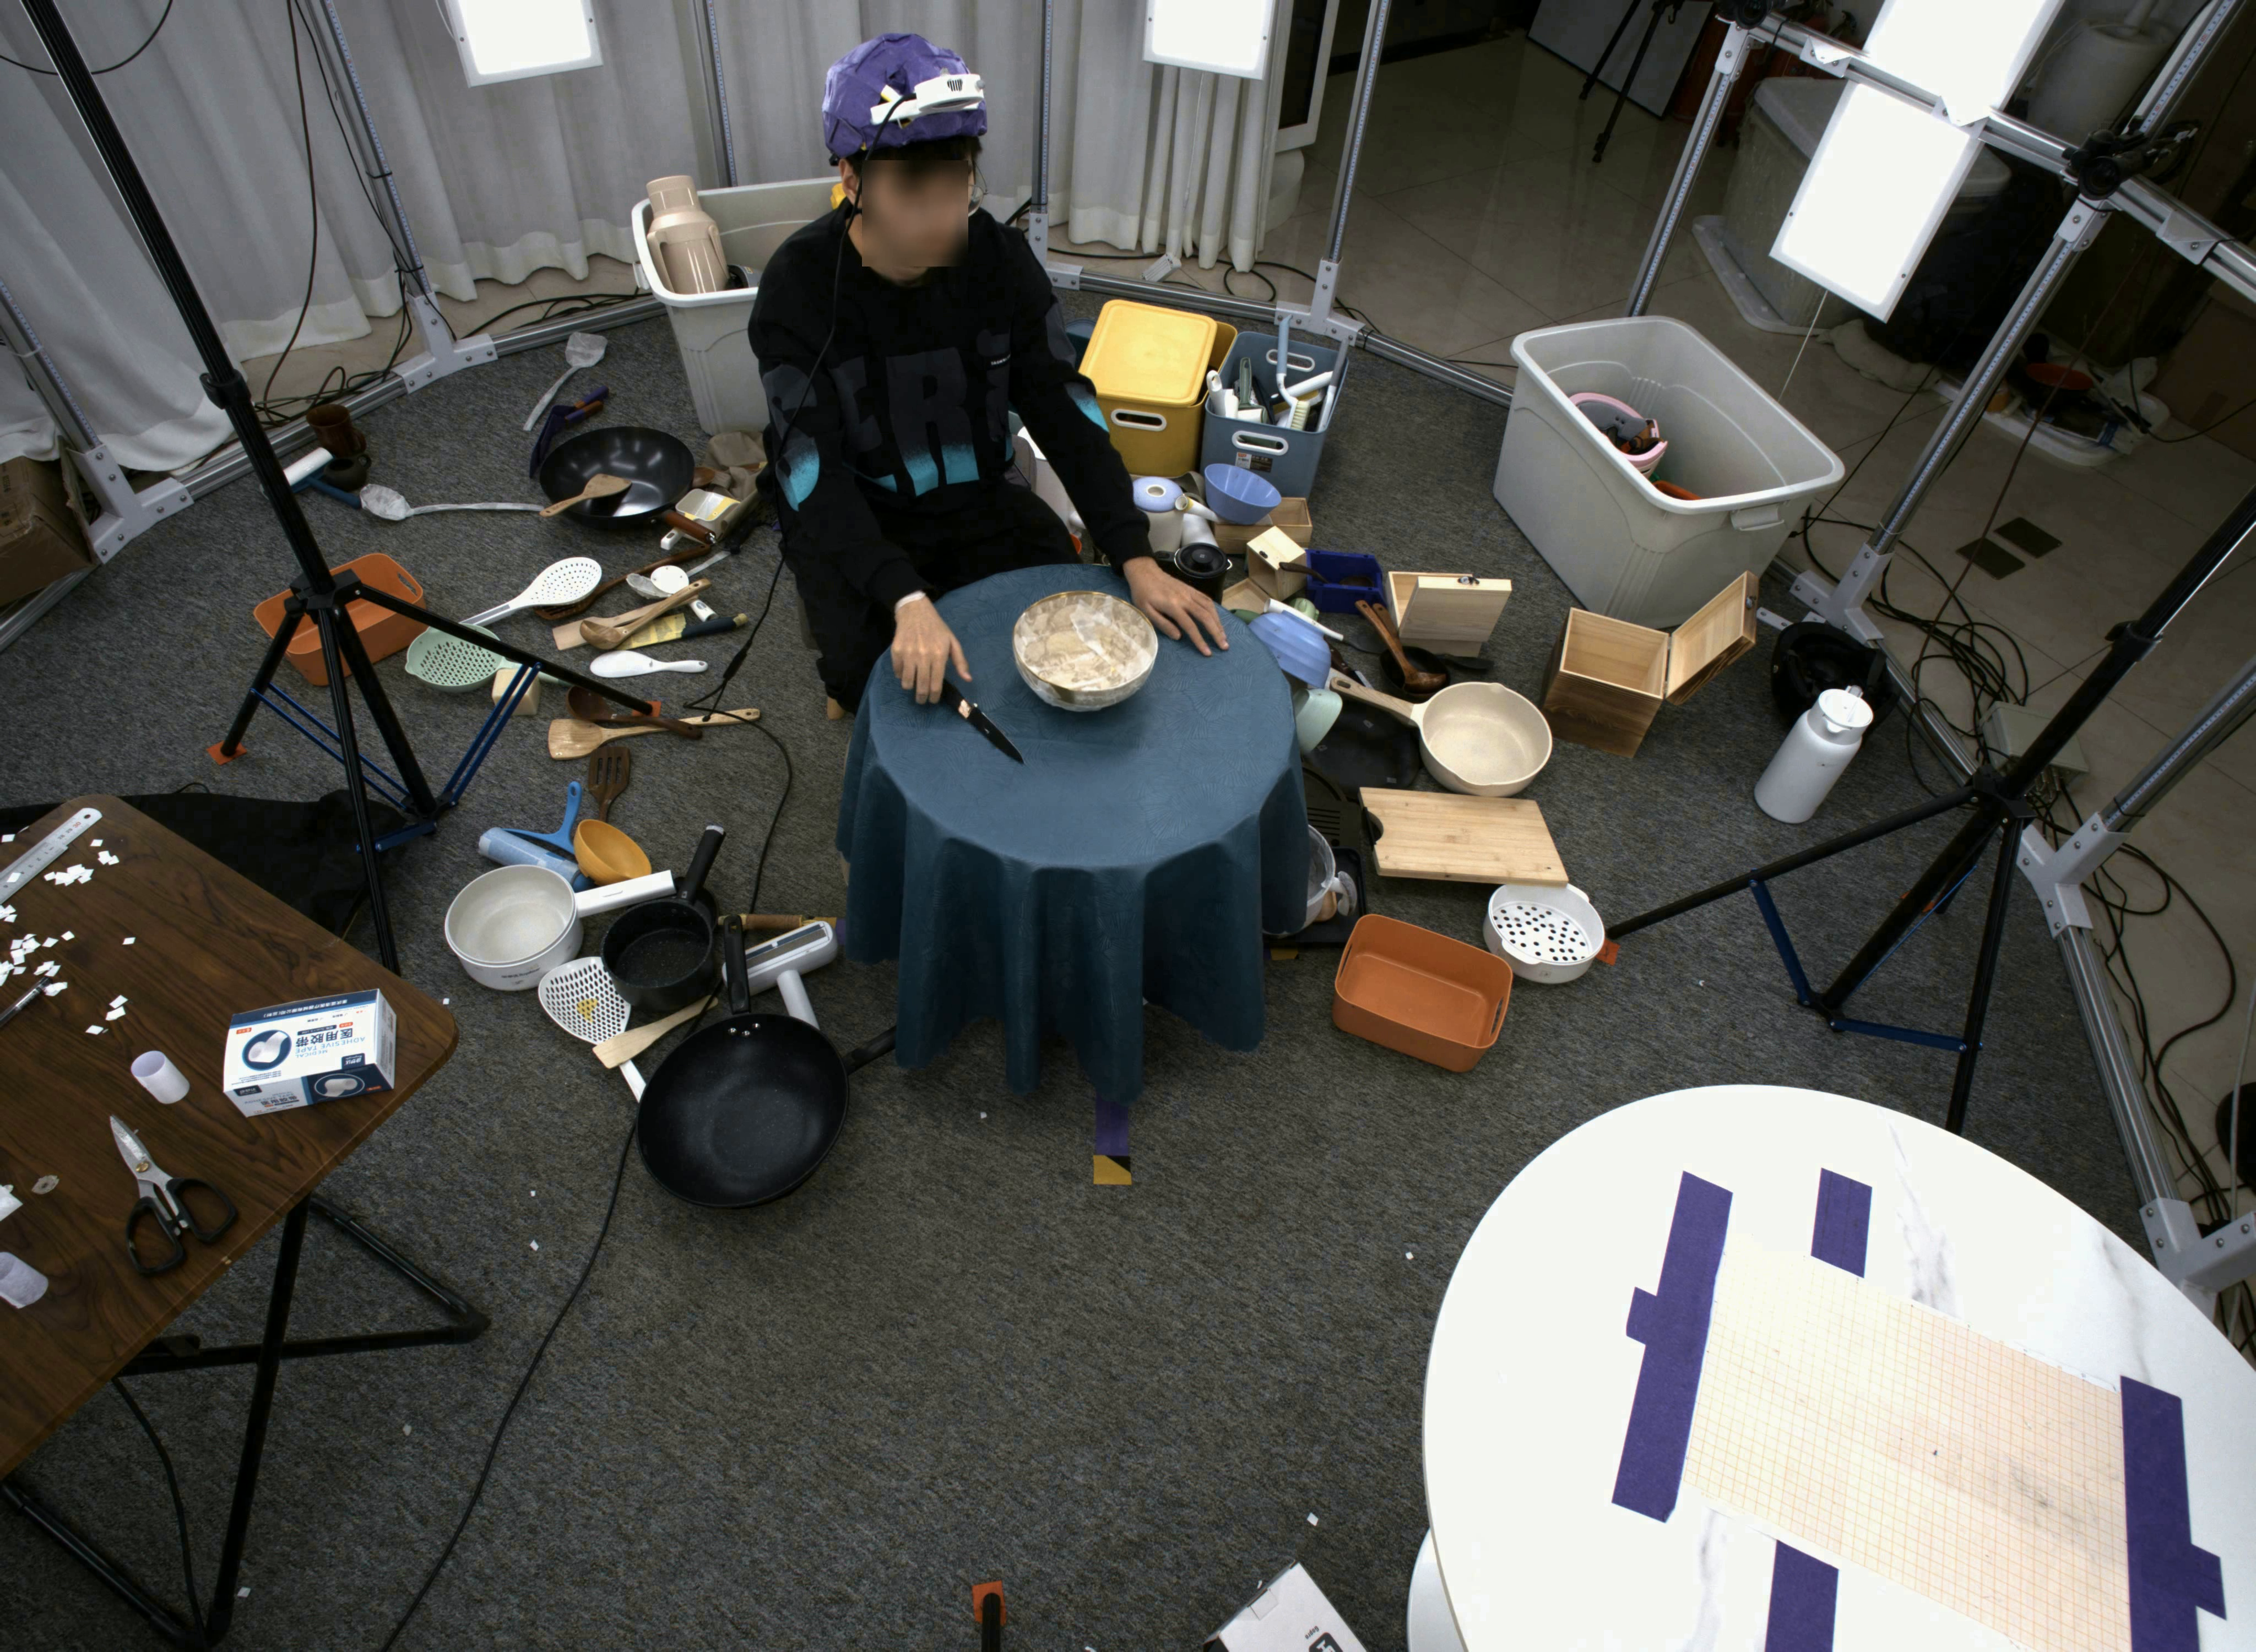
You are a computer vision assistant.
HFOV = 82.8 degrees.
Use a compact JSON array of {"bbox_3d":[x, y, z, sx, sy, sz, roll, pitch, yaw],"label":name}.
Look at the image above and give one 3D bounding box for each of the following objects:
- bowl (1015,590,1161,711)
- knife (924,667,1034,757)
[{"bbox_3d":[-0.058,-0.234,1.806,0.214,0.092,0.220,1,50,-2],"label":"bowl"},{"bbox_3d":[-0.208,-0.156,1.776,0.229,0.017,0.026,41,97,28],"label":"knife"}]
